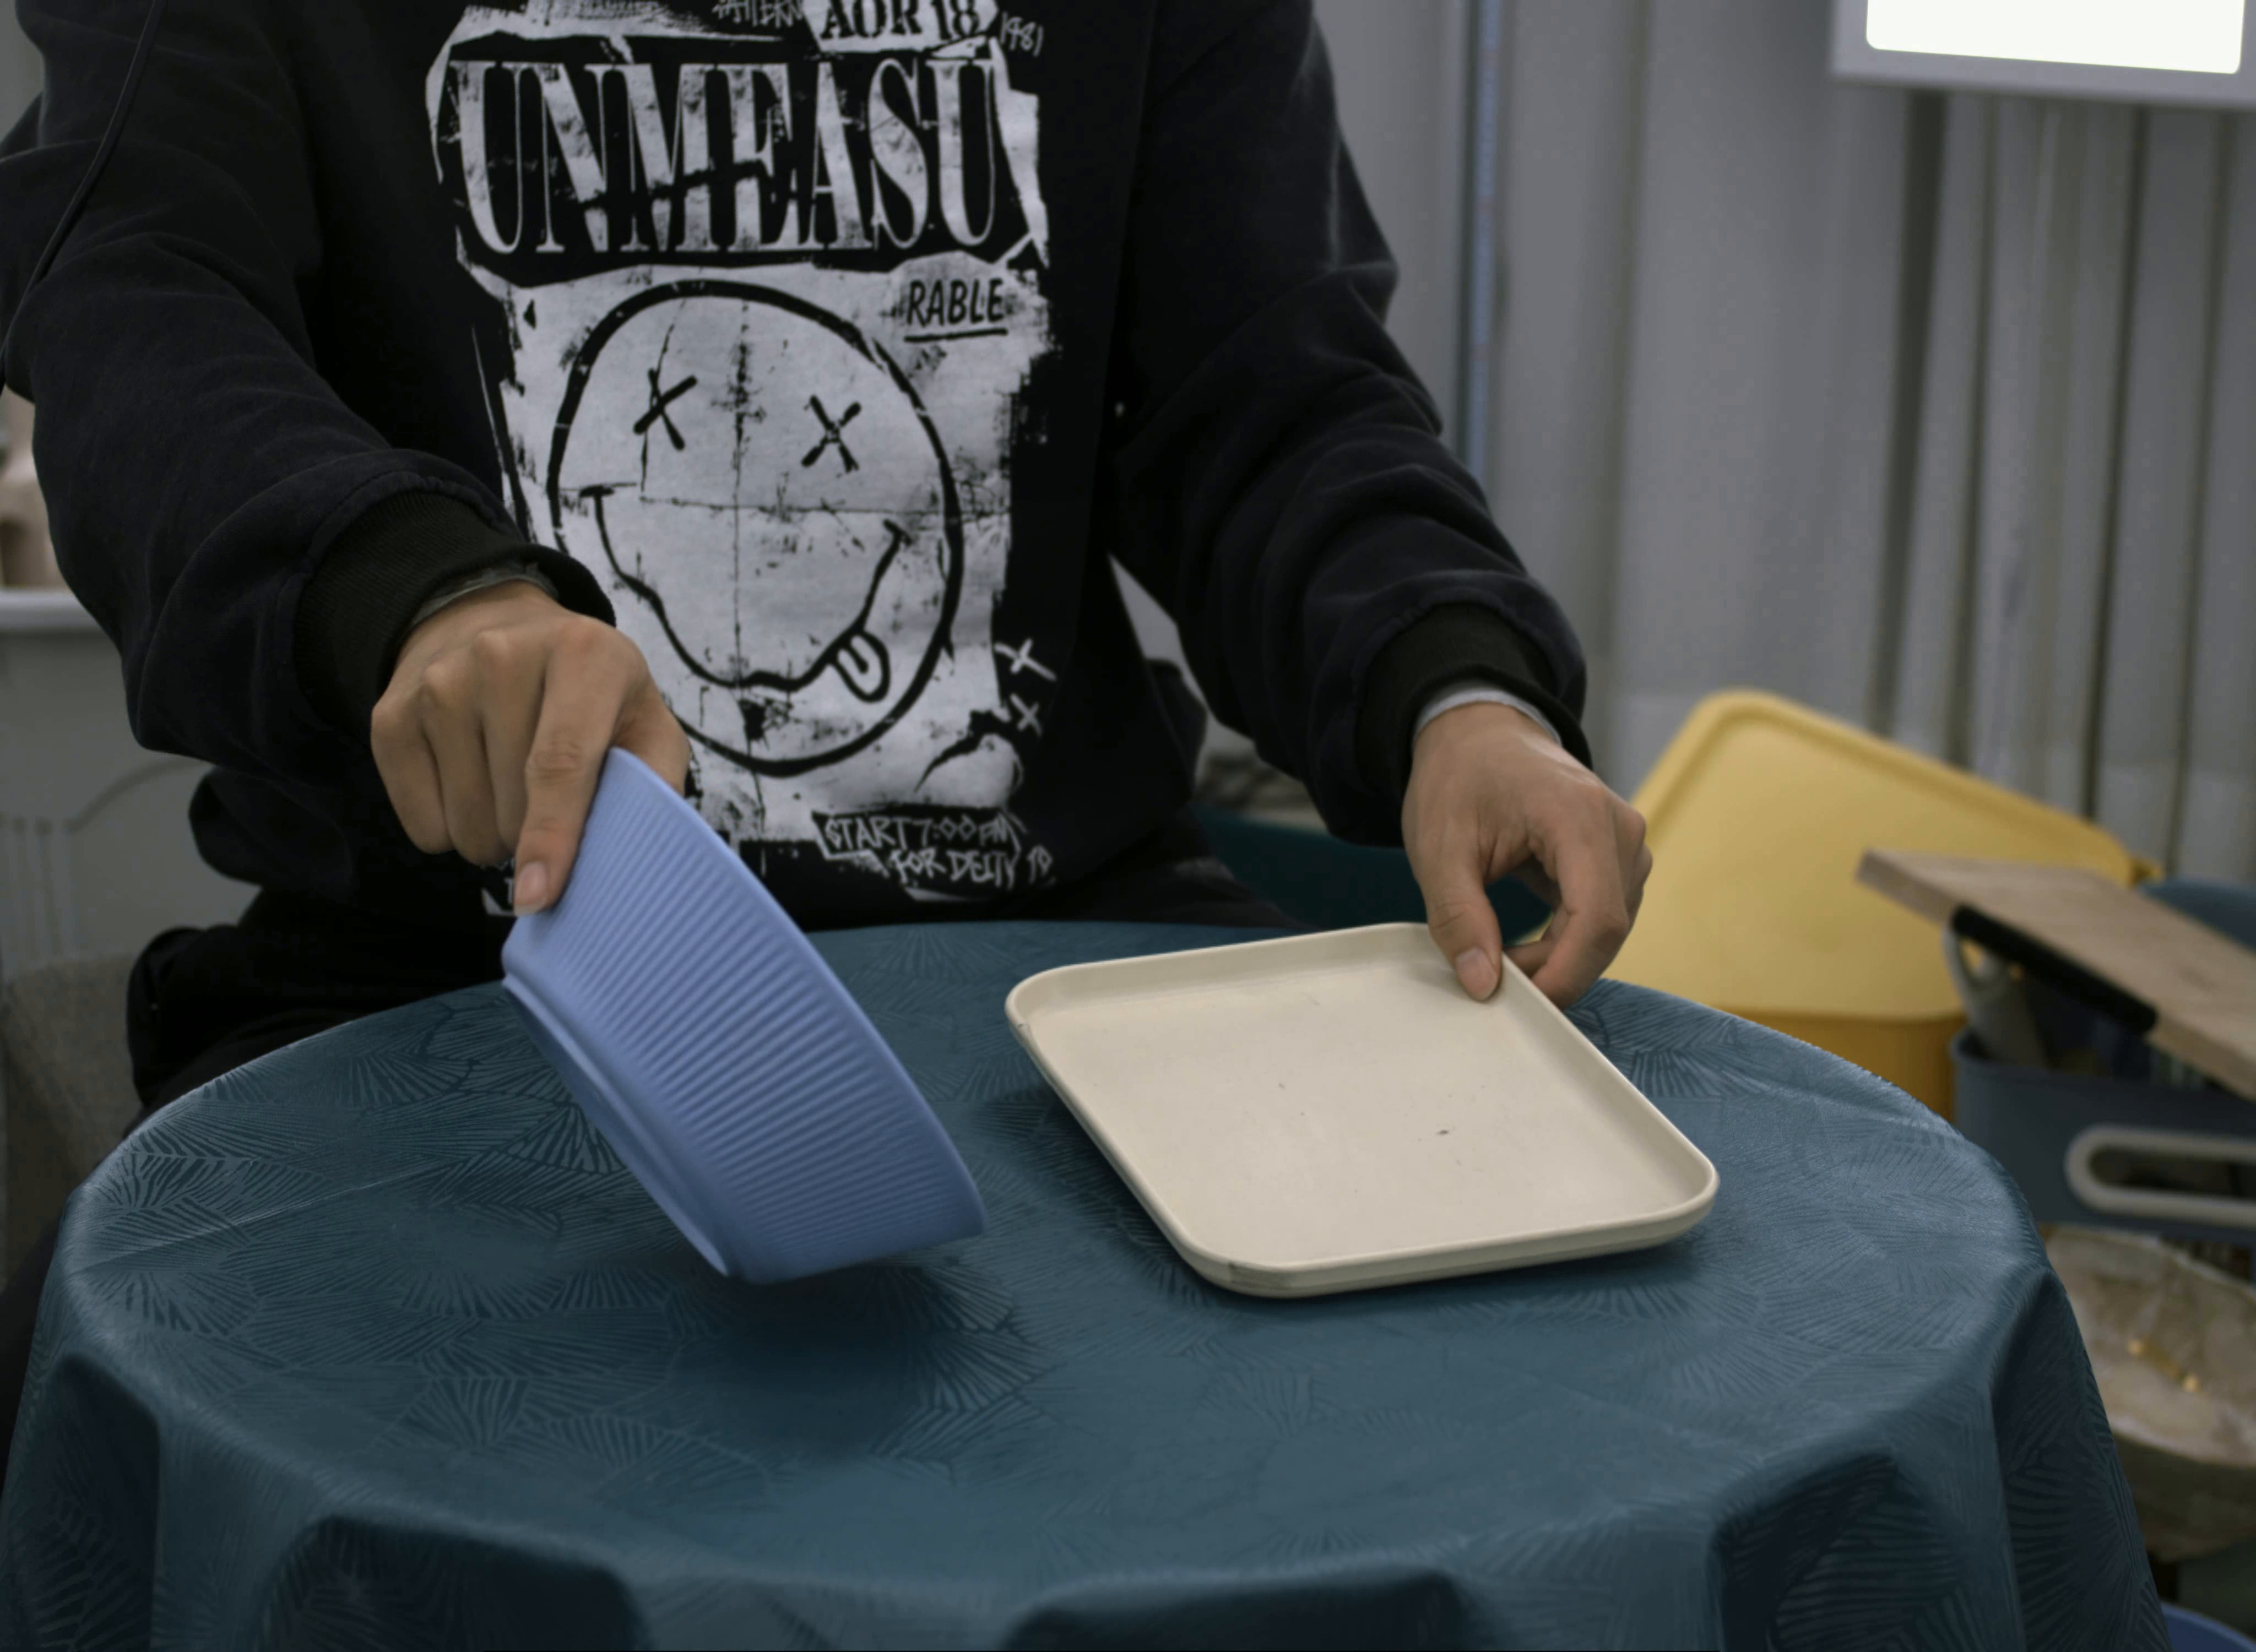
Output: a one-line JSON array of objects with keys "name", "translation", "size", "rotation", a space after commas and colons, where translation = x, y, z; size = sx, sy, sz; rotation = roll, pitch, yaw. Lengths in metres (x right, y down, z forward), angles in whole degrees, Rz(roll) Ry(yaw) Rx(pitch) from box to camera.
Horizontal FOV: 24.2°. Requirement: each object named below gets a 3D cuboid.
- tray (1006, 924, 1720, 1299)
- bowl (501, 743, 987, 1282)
[{"name": "tray", "translation": [0.069, 0.087, 1.646], "size": [0.171, 0.017, 0.237], "rotation": [-6, 22, -17]}, {"name": "bowl", "translation": [-0.120, 0.065, 1.506], "size": [0.070, 0.178, 0.174], "rotation": [-38, 28, -11]}]
